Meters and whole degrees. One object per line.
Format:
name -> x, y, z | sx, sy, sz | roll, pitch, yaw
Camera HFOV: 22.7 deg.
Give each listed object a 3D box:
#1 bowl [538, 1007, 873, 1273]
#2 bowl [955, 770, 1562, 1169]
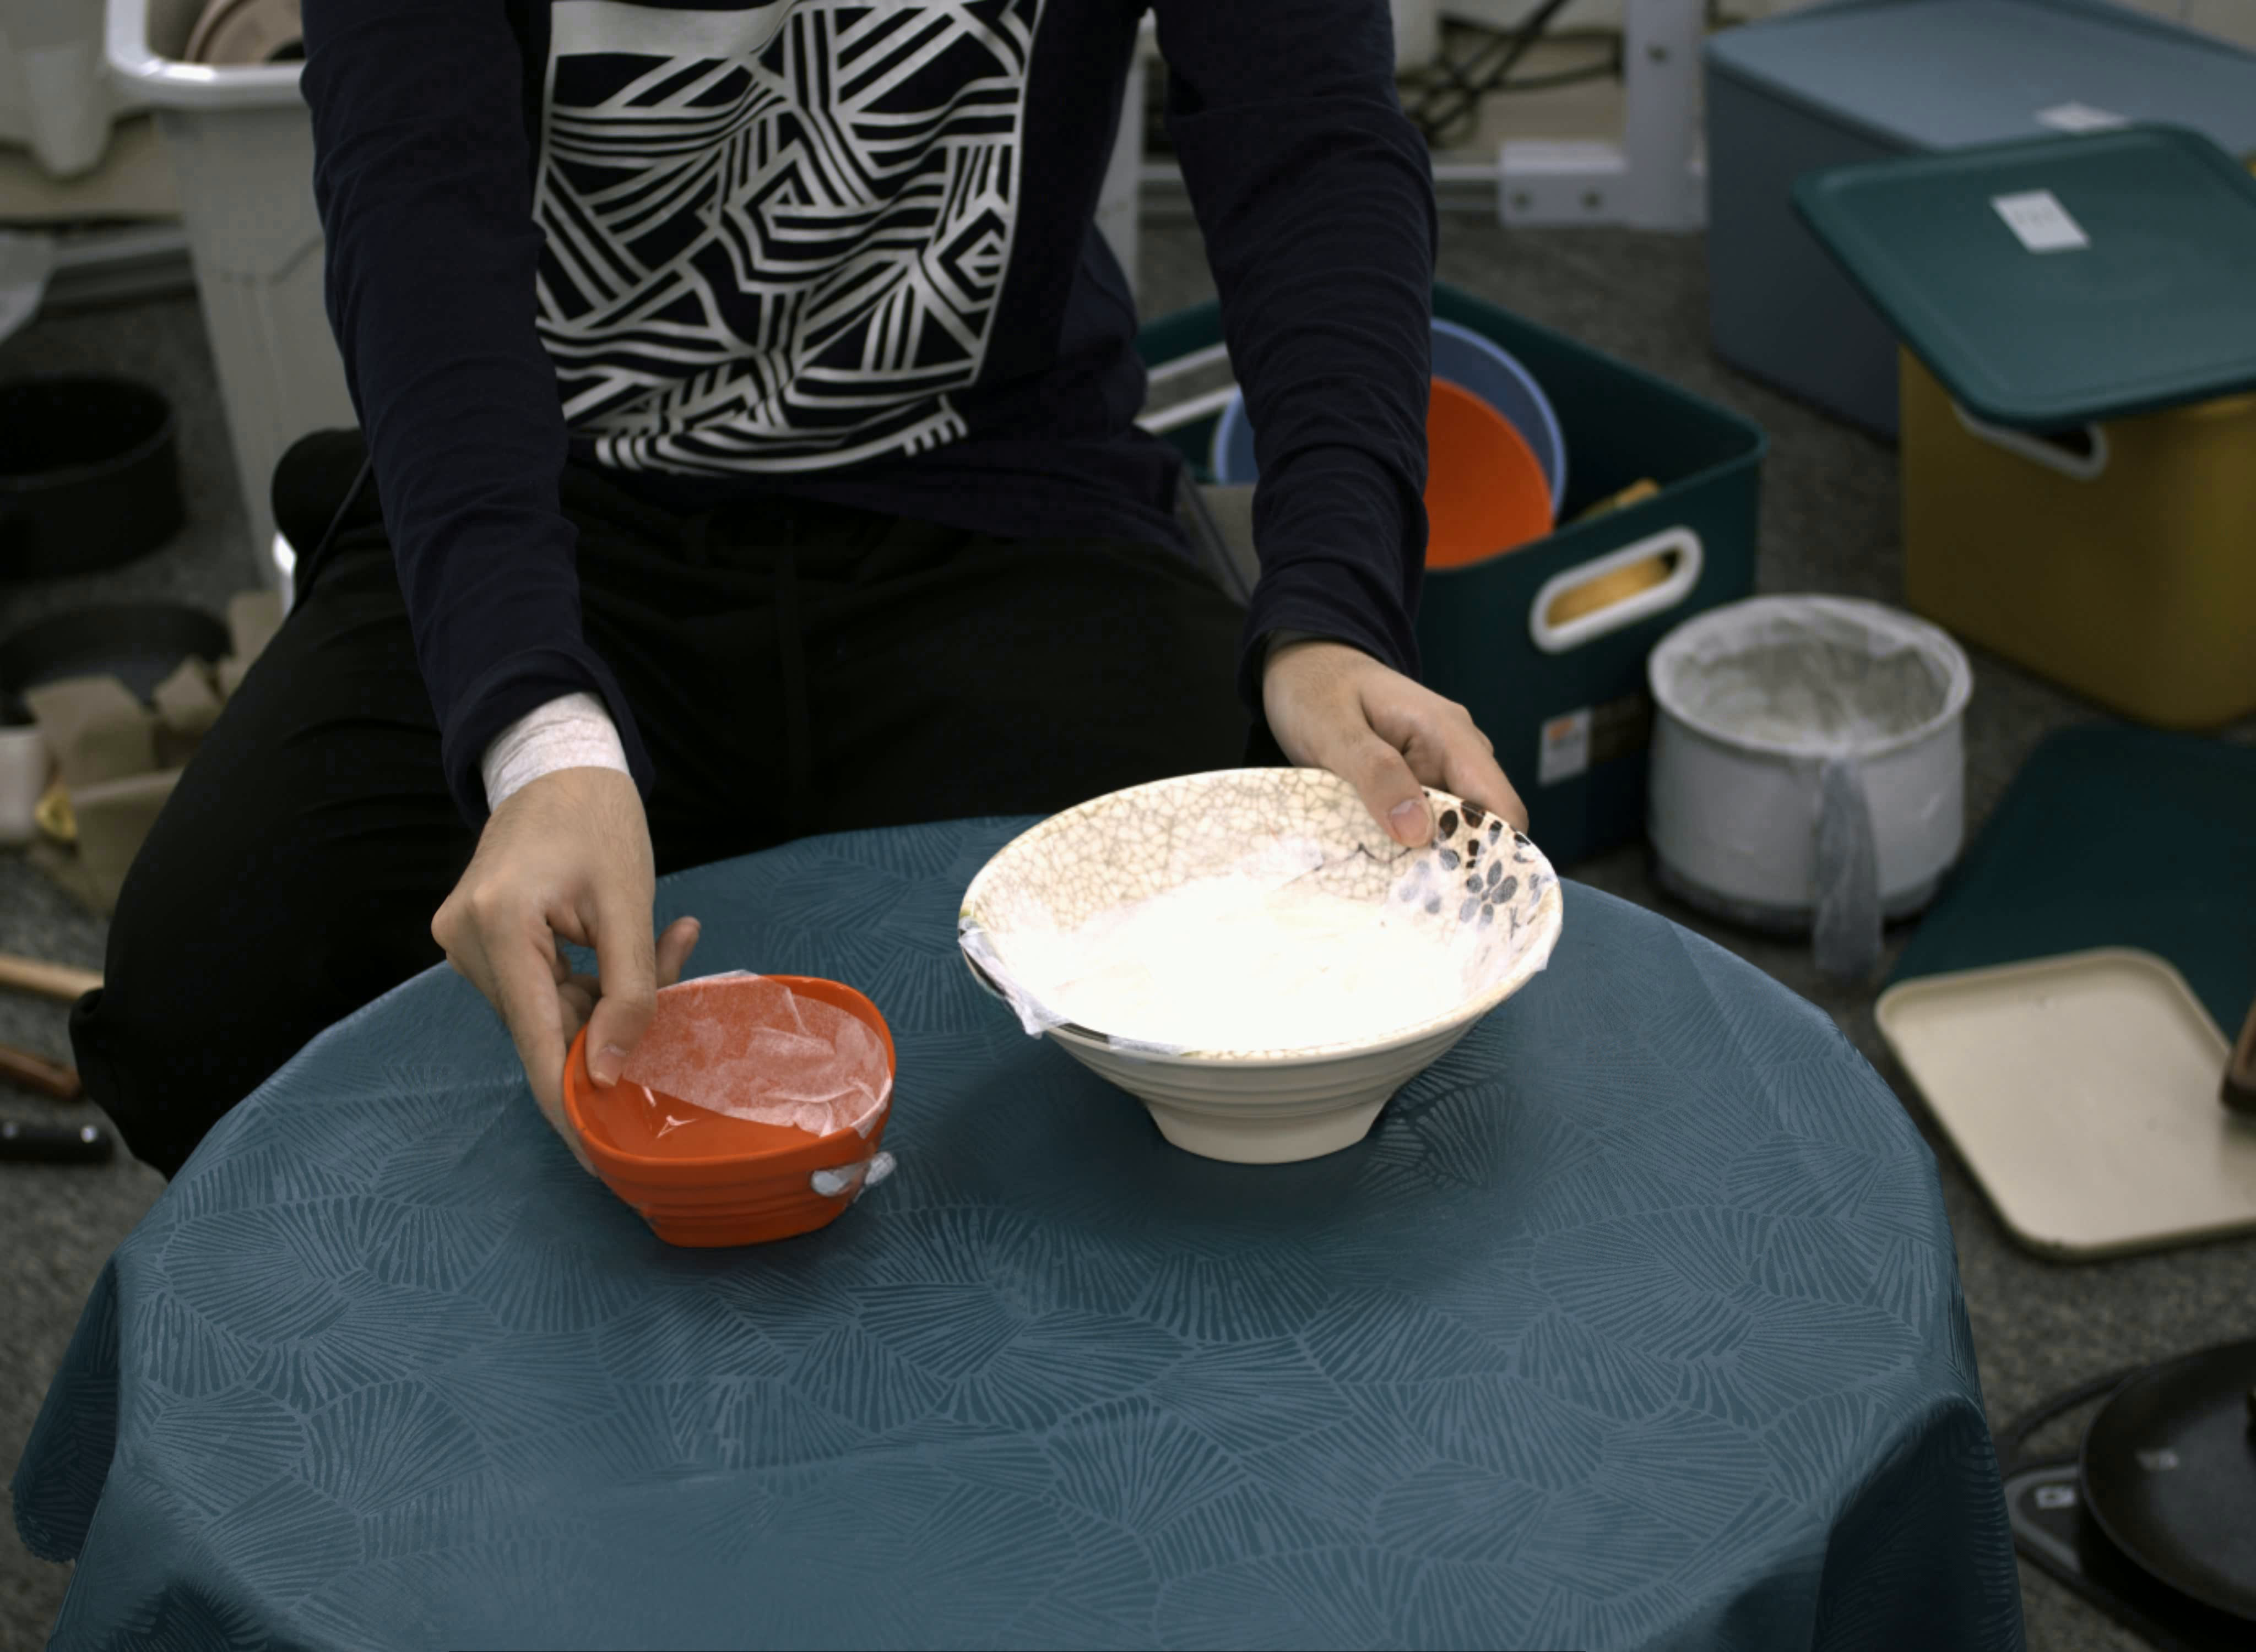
bowl -> -0.140, 0.109, 1.862 | 0.118, 0.051, 0.121 | 2, 28, -1
bowl -> 0.045, 0.060, 1.894 | 0.203, 0.077, 0.207 | -2, 27, 1
